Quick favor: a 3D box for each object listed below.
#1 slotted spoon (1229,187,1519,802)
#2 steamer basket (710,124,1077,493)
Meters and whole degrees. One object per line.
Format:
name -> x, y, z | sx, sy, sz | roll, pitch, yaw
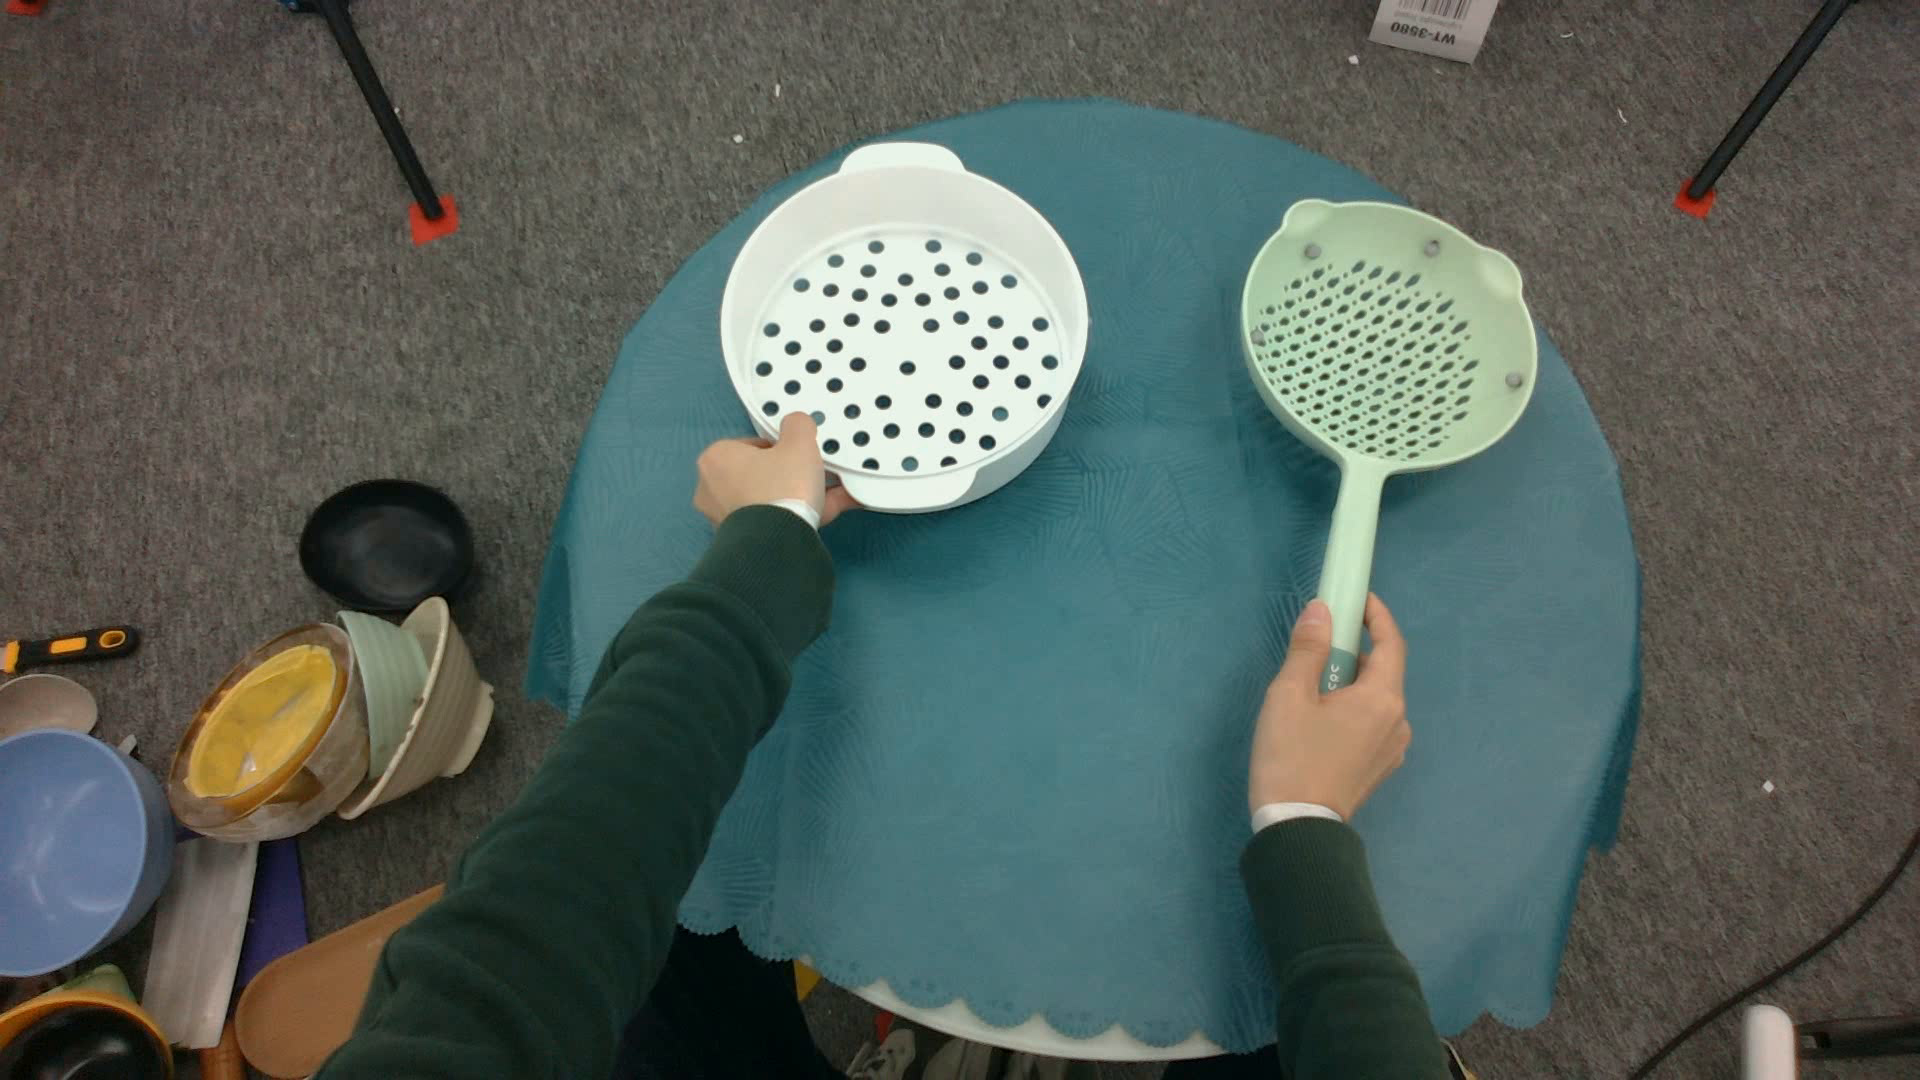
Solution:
slotted spoon -> 0.207, -0.035, 0.742 | 0.169, 0.075, 0.360 | 16, 58, 0
steamer basket -> -0.036, -0.124, 0.781 | 0.202, 0.069, 0.231 | -3, 68, -2
